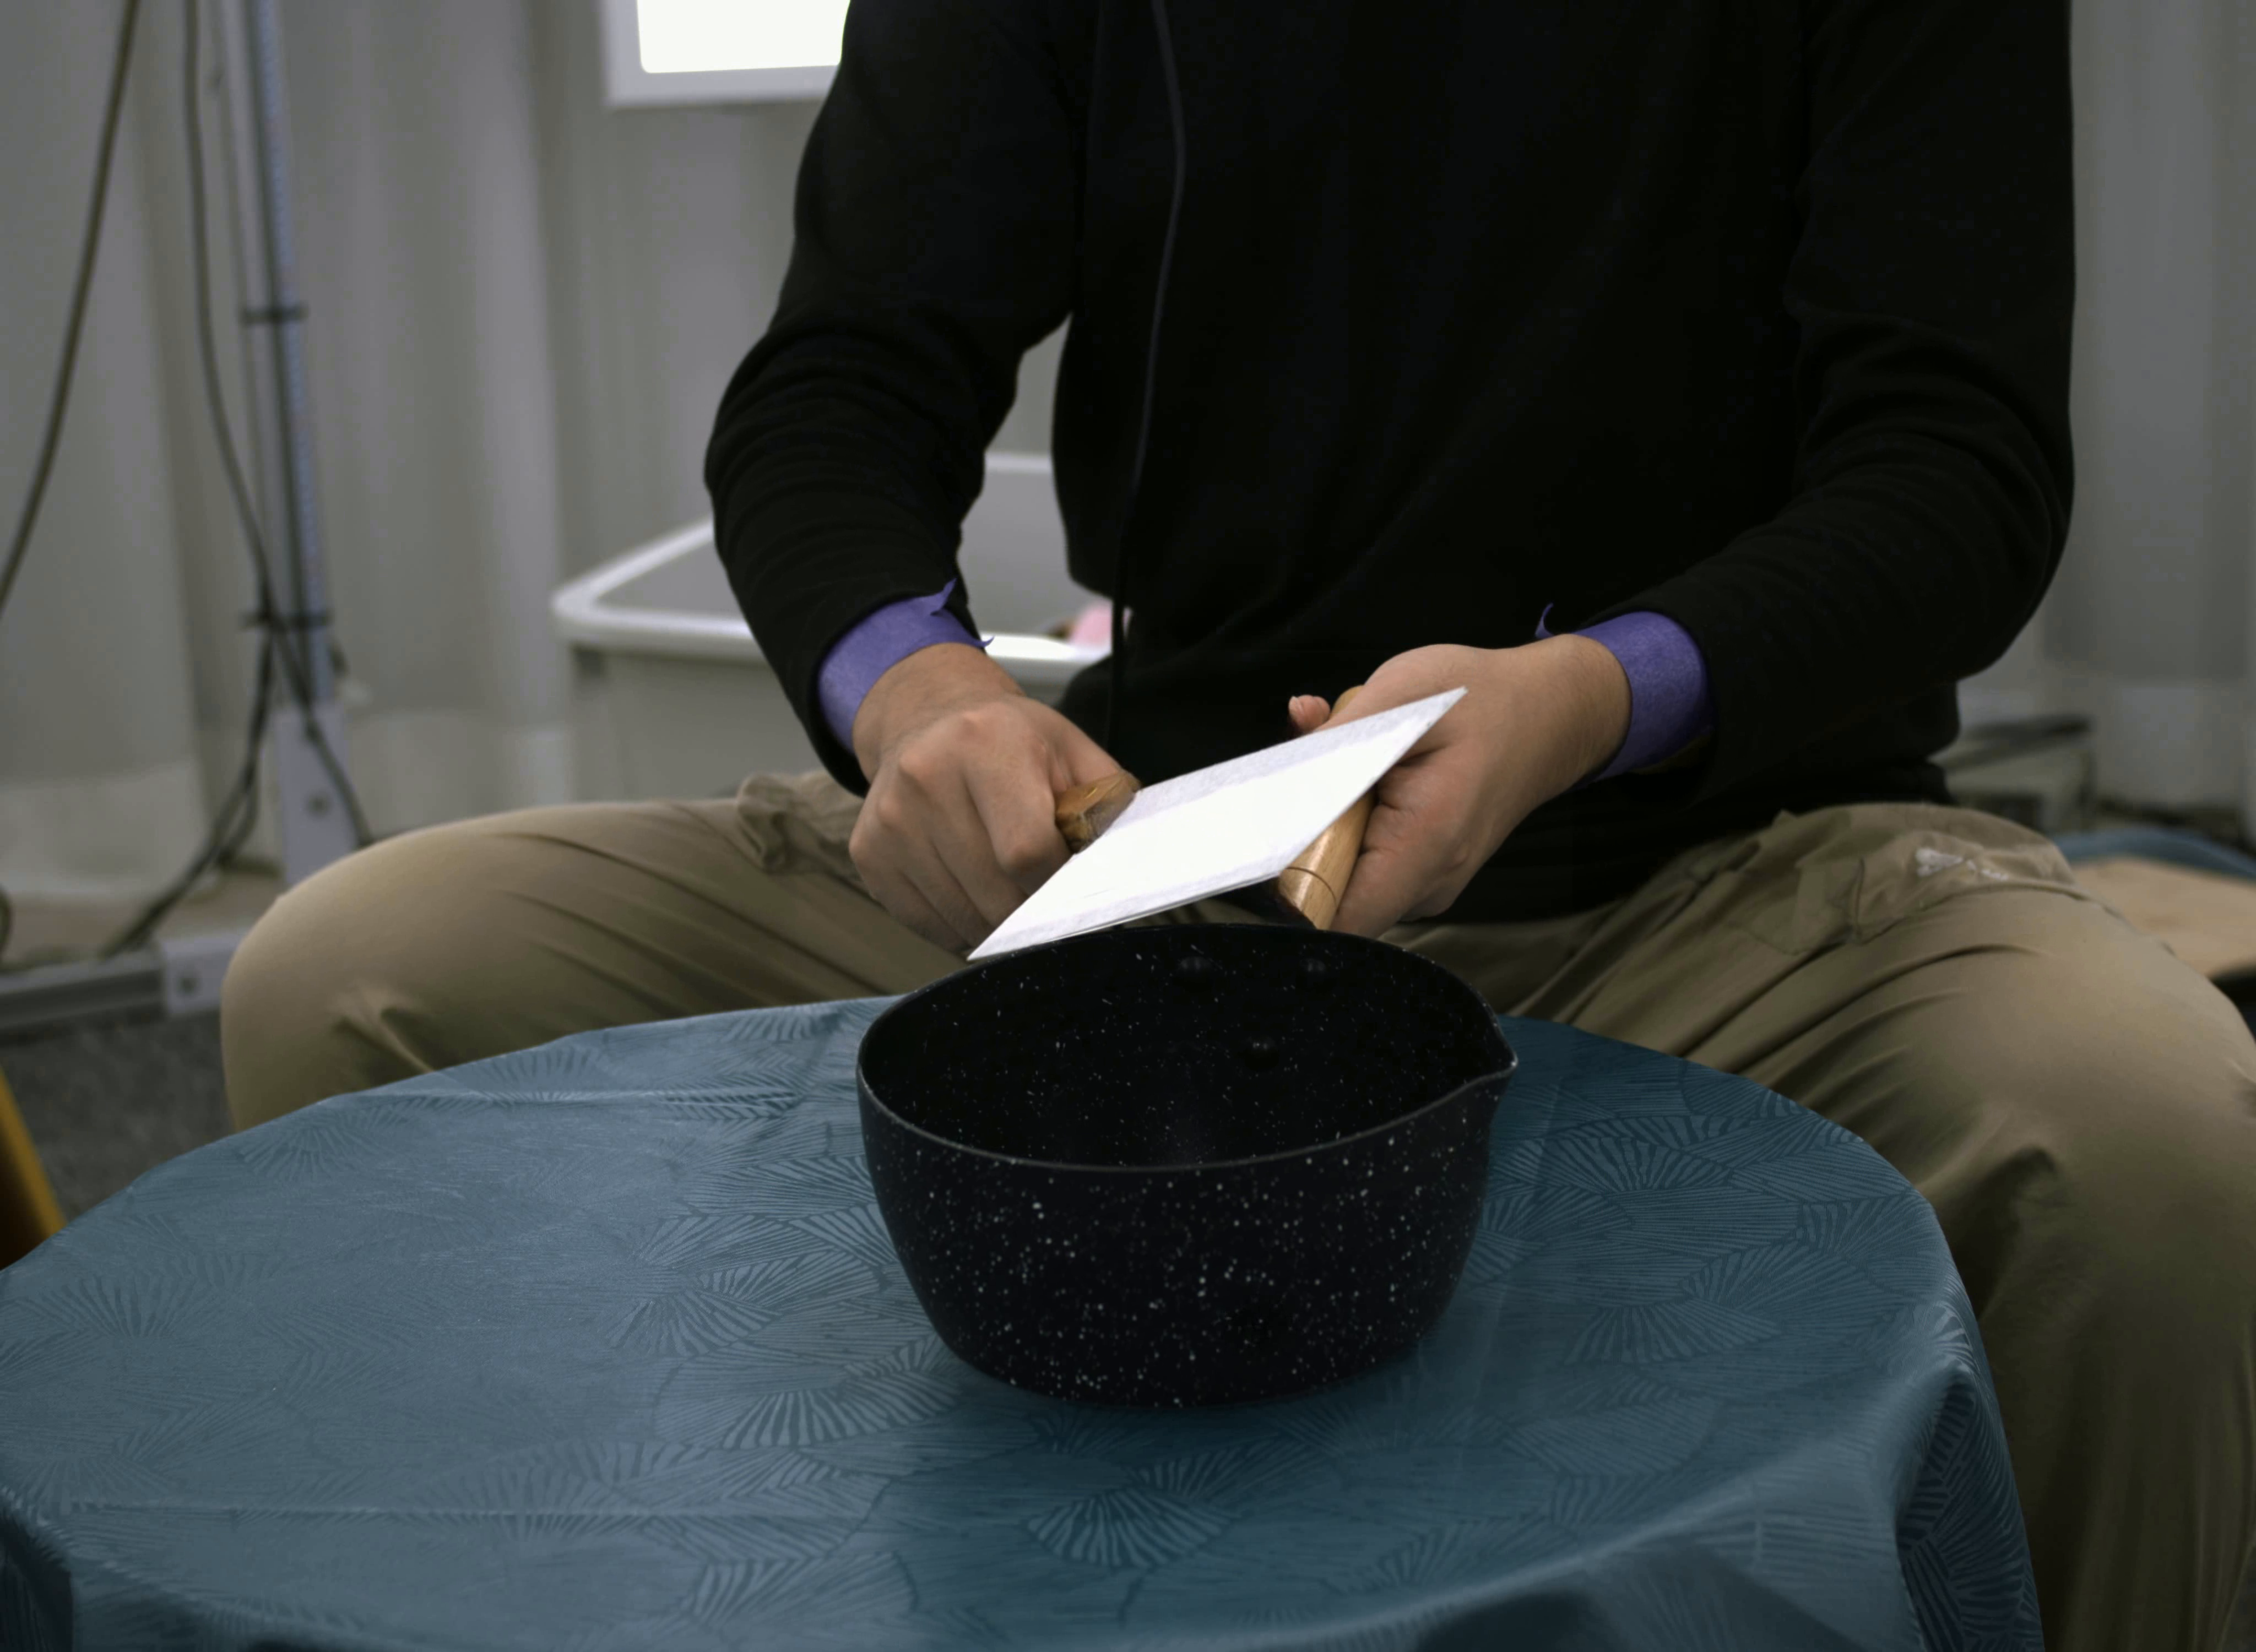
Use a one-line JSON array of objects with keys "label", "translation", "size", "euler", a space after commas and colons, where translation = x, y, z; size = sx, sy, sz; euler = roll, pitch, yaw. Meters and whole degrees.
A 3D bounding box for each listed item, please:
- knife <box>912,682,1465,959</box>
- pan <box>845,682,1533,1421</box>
[{"label": "knife", "translation": [-0.002, 0.008, 1.696], "size": [0.093, 0.021, 0.305], "euler": [-44, 13, -28]}, {"label": "pan", "translation": [0.035, 0.063, 1.650], "size": [0.207, 0.107, 0.345], "euler": [2, 21, 15]}]
